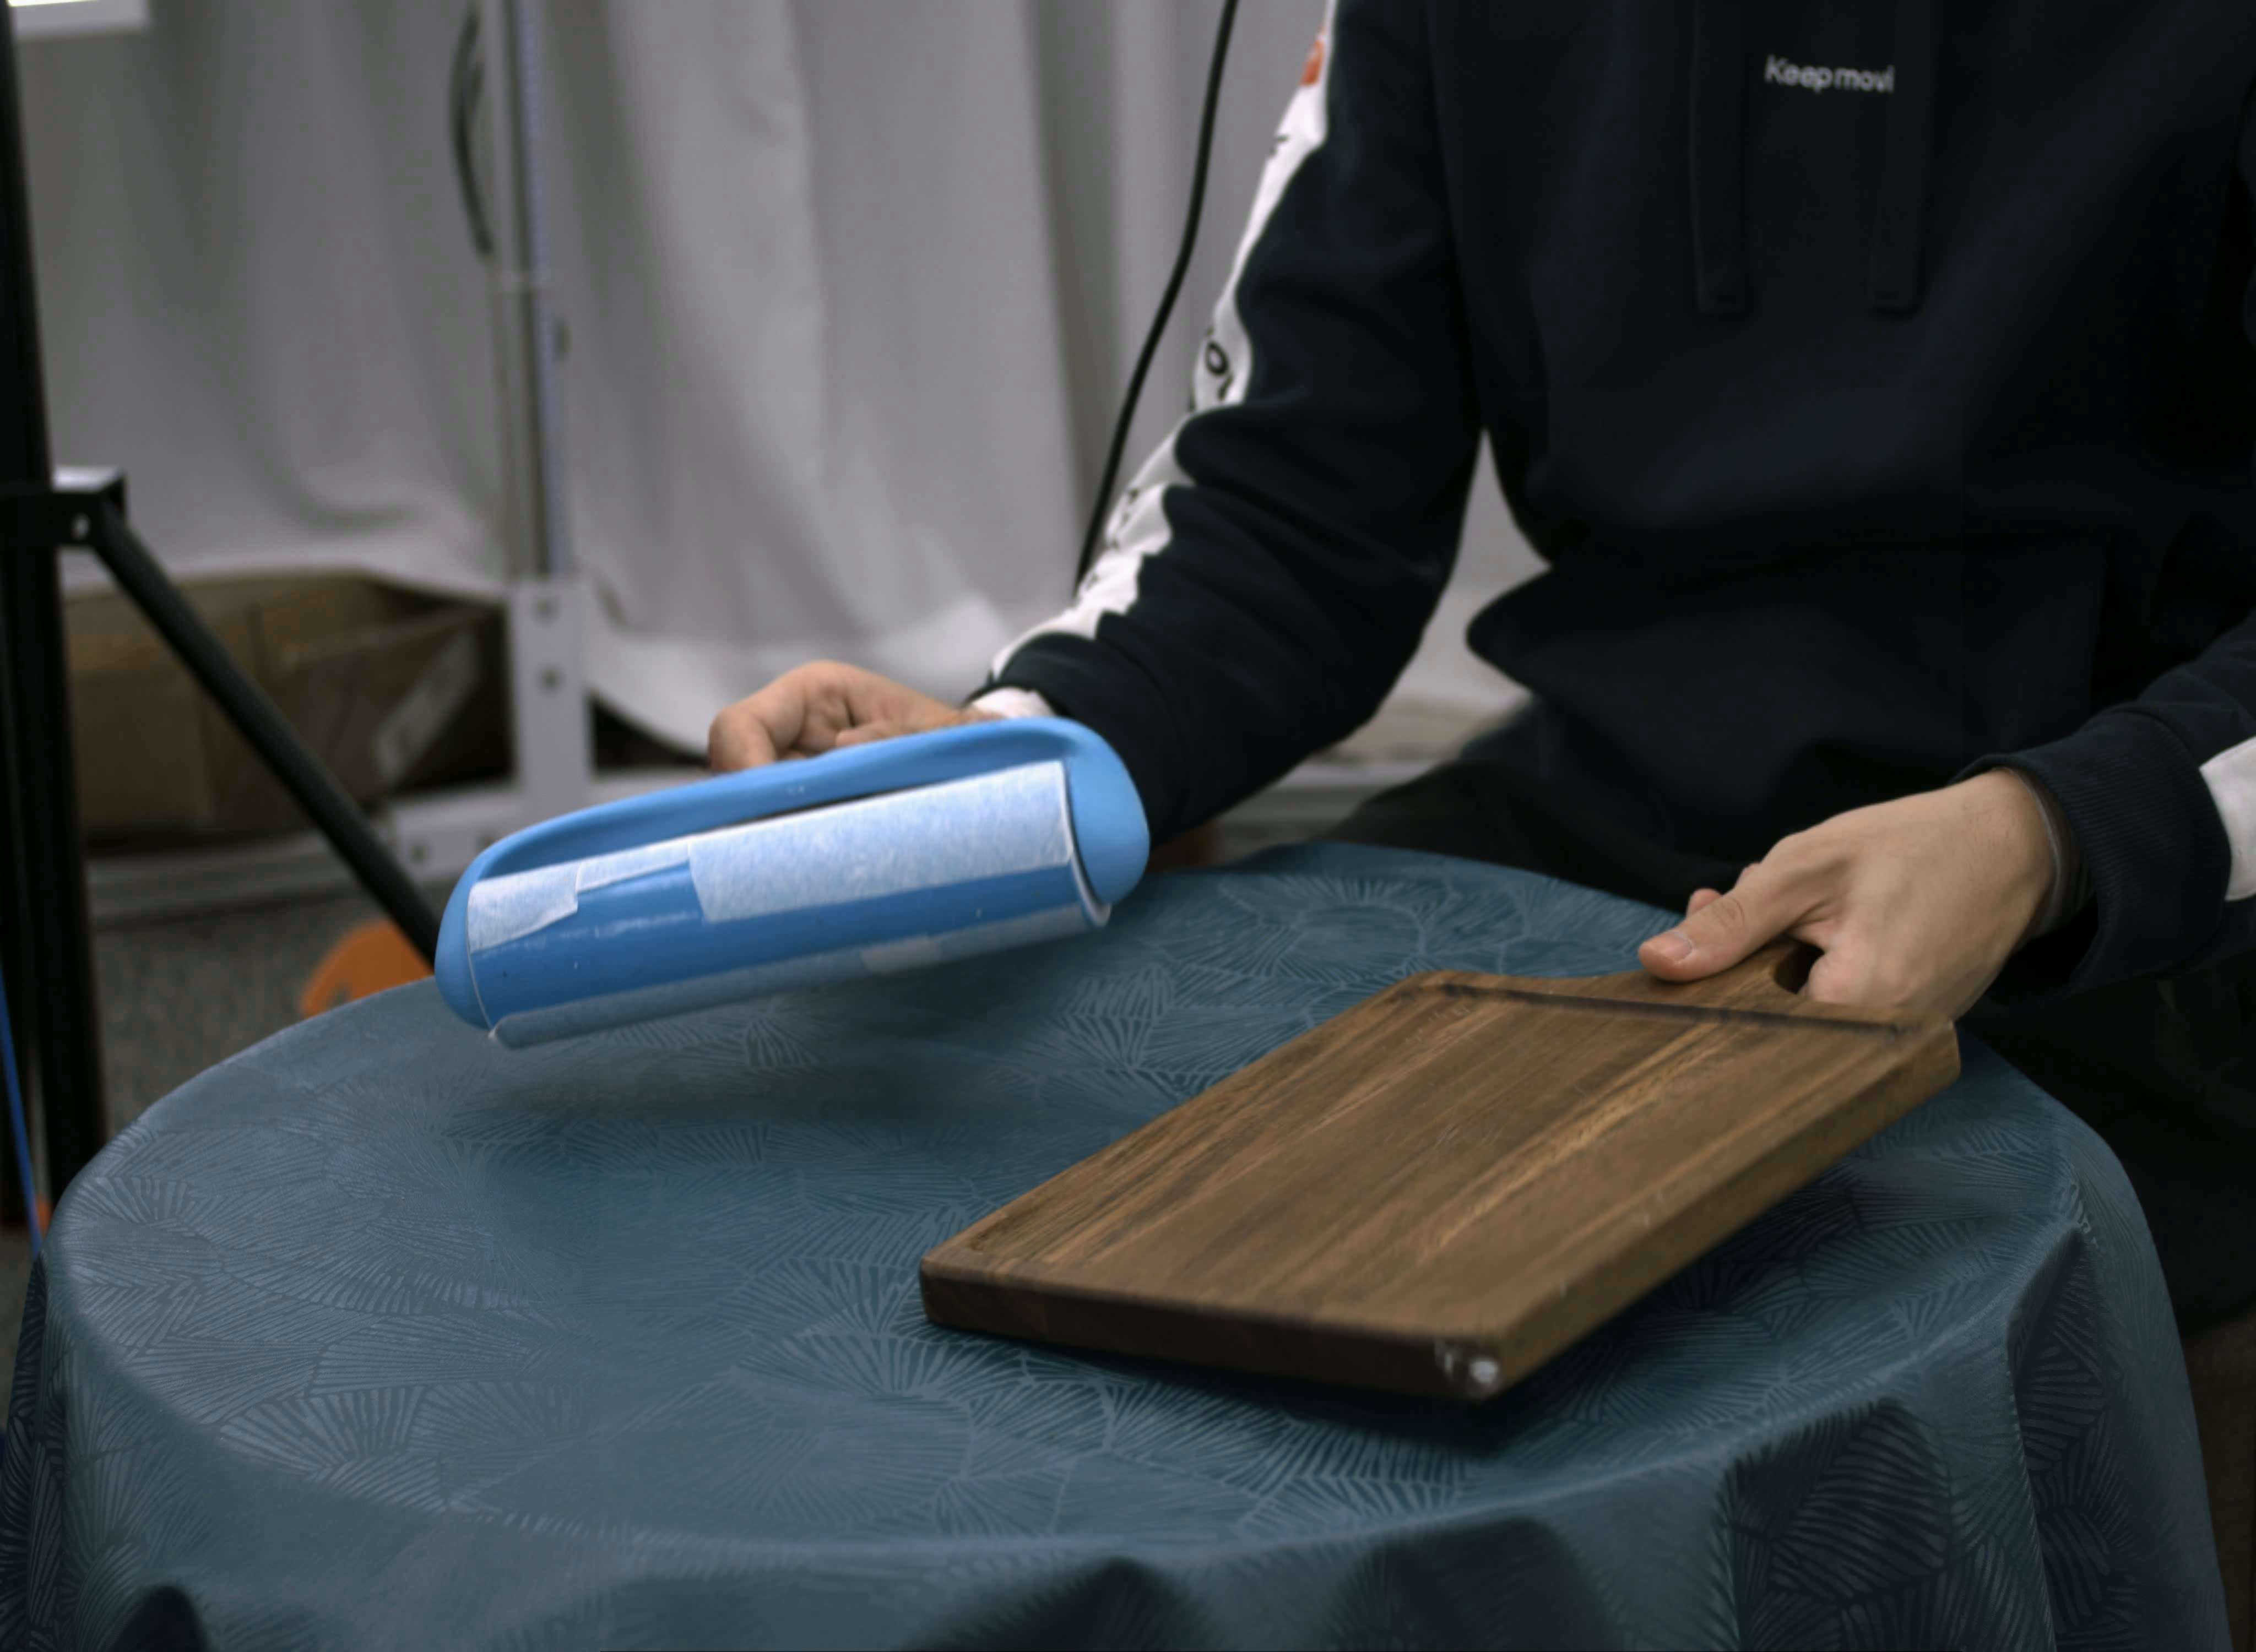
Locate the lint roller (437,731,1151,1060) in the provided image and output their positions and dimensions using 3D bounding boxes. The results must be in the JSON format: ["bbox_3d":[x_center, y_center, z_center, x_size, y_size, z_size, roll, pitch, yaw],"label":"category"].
[{"bbox_3d":[-0.098,0.012,1.692,0.230,0.068,0.180,-14,12,10],"label":"lint roller"}]

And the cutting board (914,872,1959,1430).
[{"bbox_3d":[0.119,0.081,1.518,0.205,0.023,0.345,6,23,39],"label":"cutting board"}]
